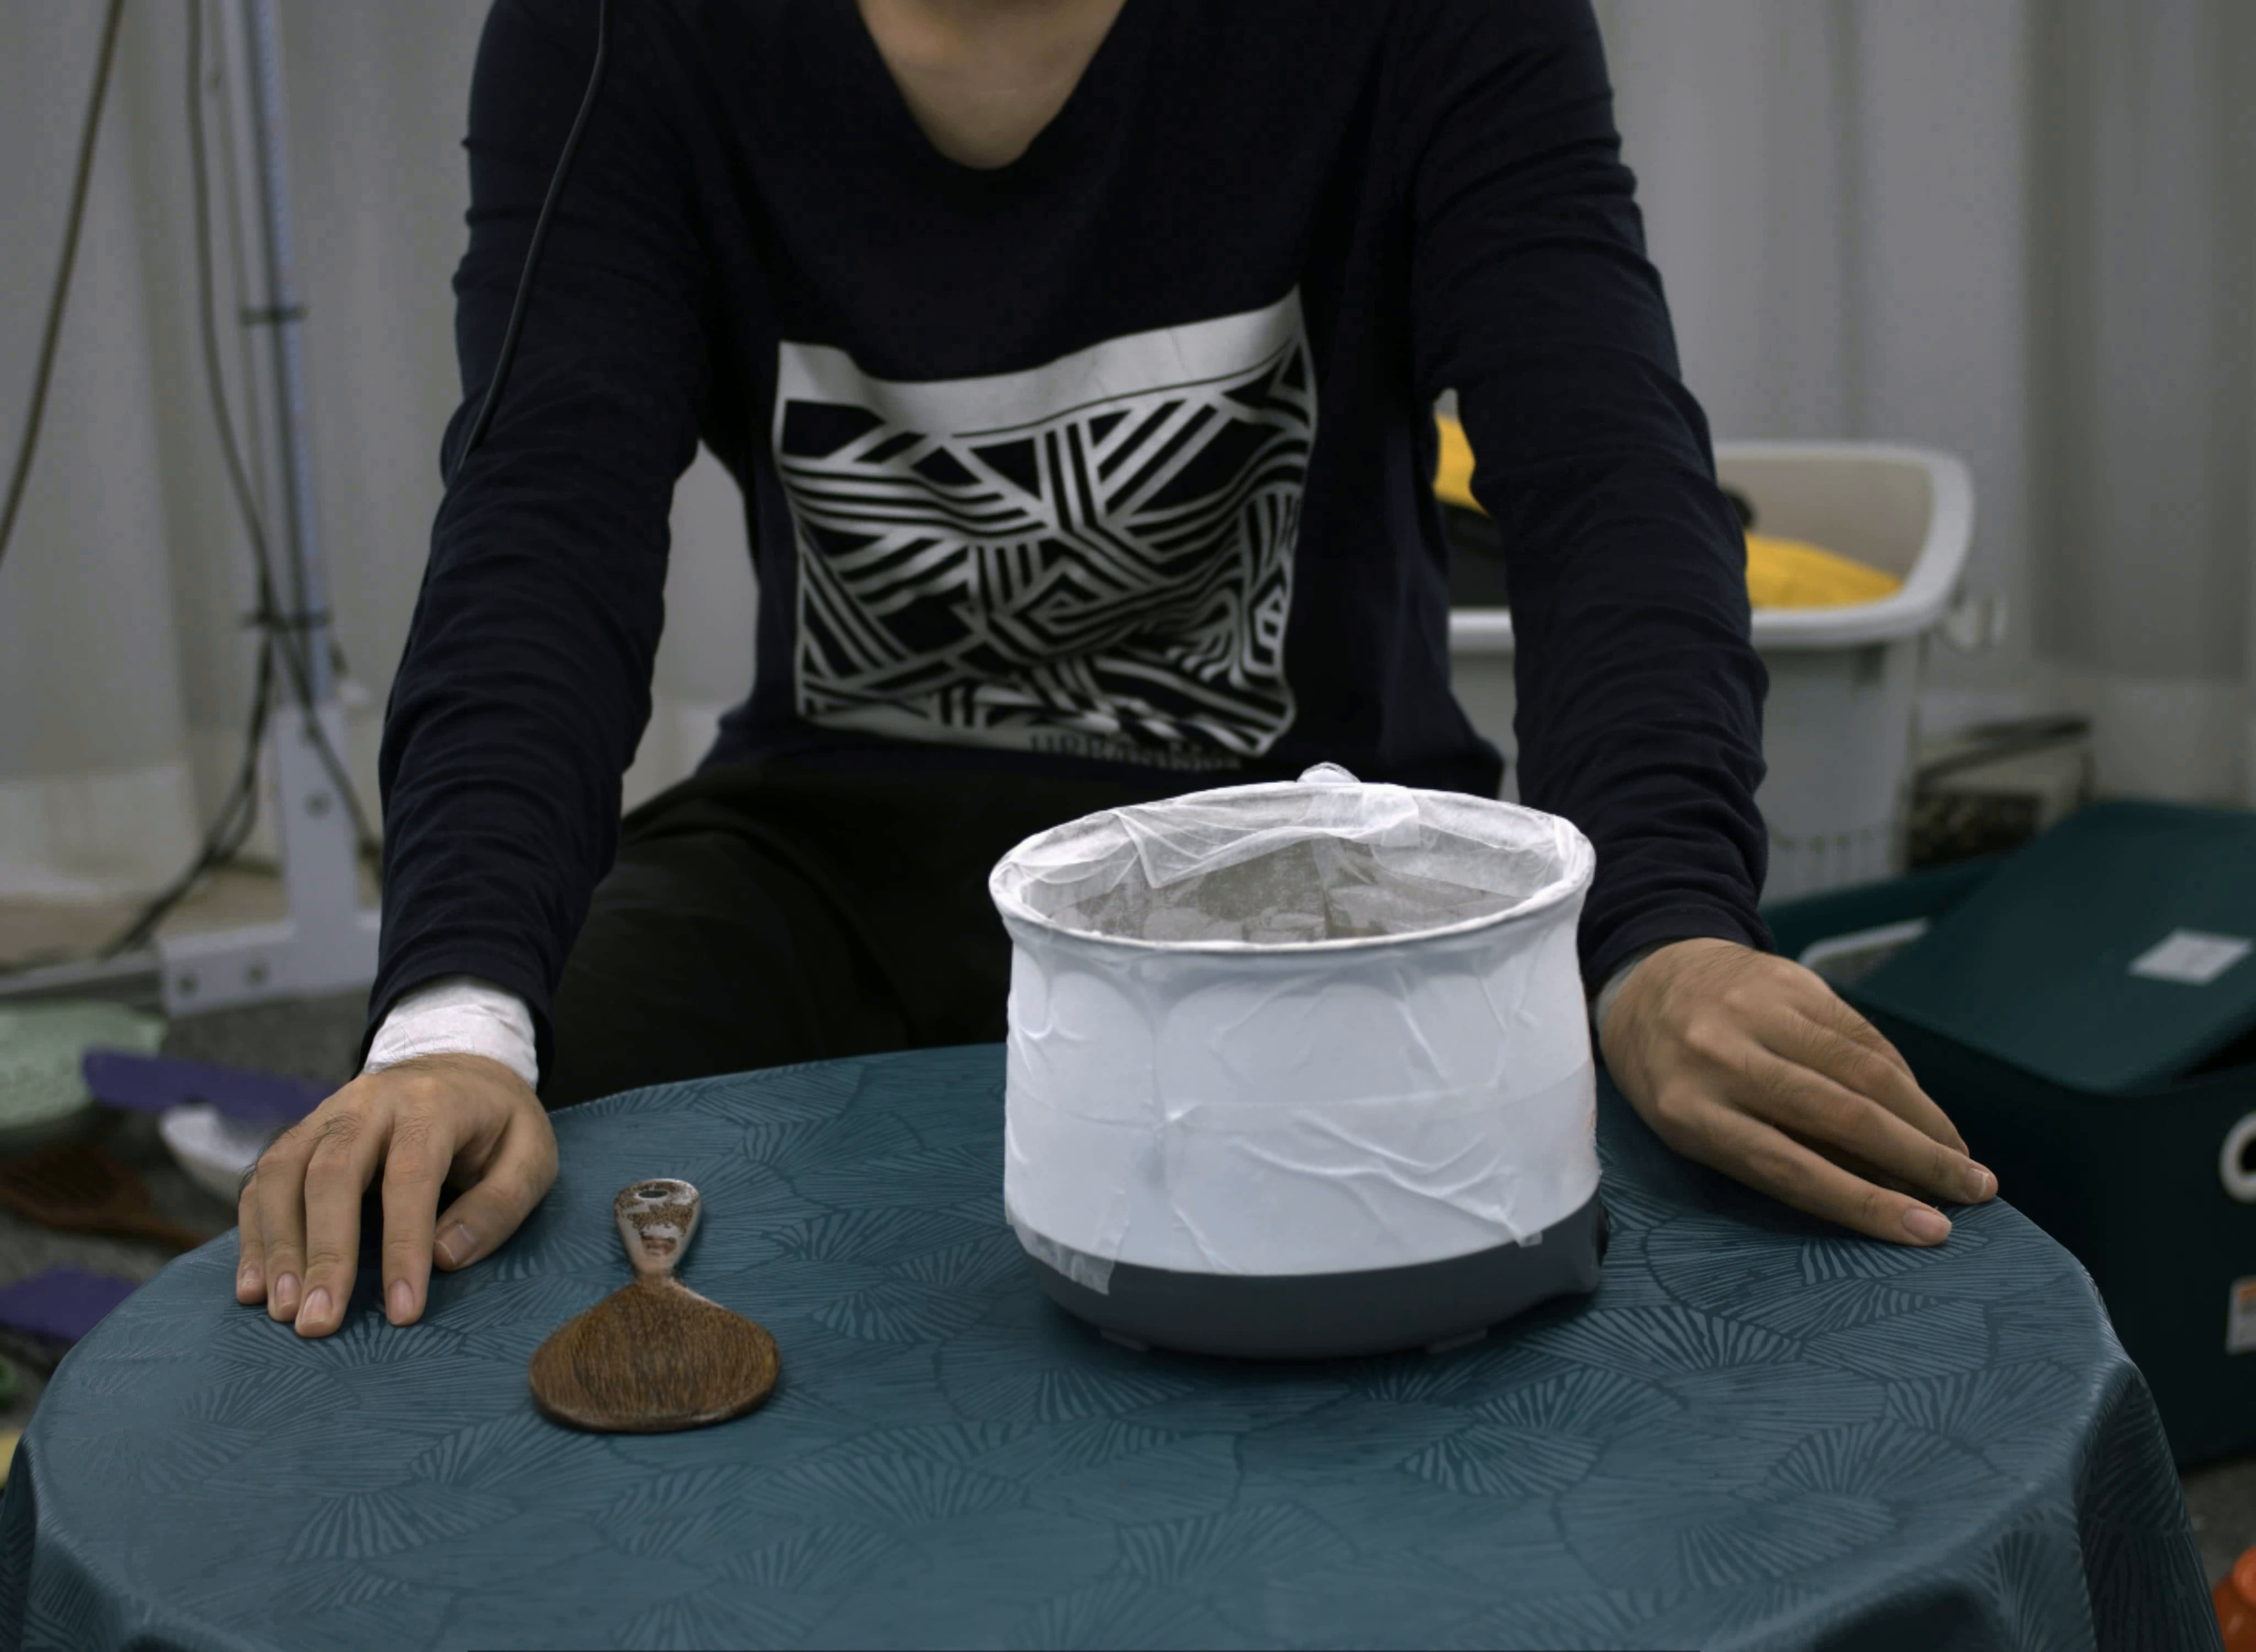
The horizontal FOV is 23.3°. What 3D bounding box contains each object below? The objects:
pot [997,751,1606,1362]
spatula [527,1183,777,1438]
[{"bbox_3d":[0.053,0.063,1.631,0.178,0.136,0.235,2,16,6],"label":"pot"},{"bbox_3d":[-0.141,0.141,1.633,0.071,0.009,0.217,-2,14,-4],"label":"spatula"}]
